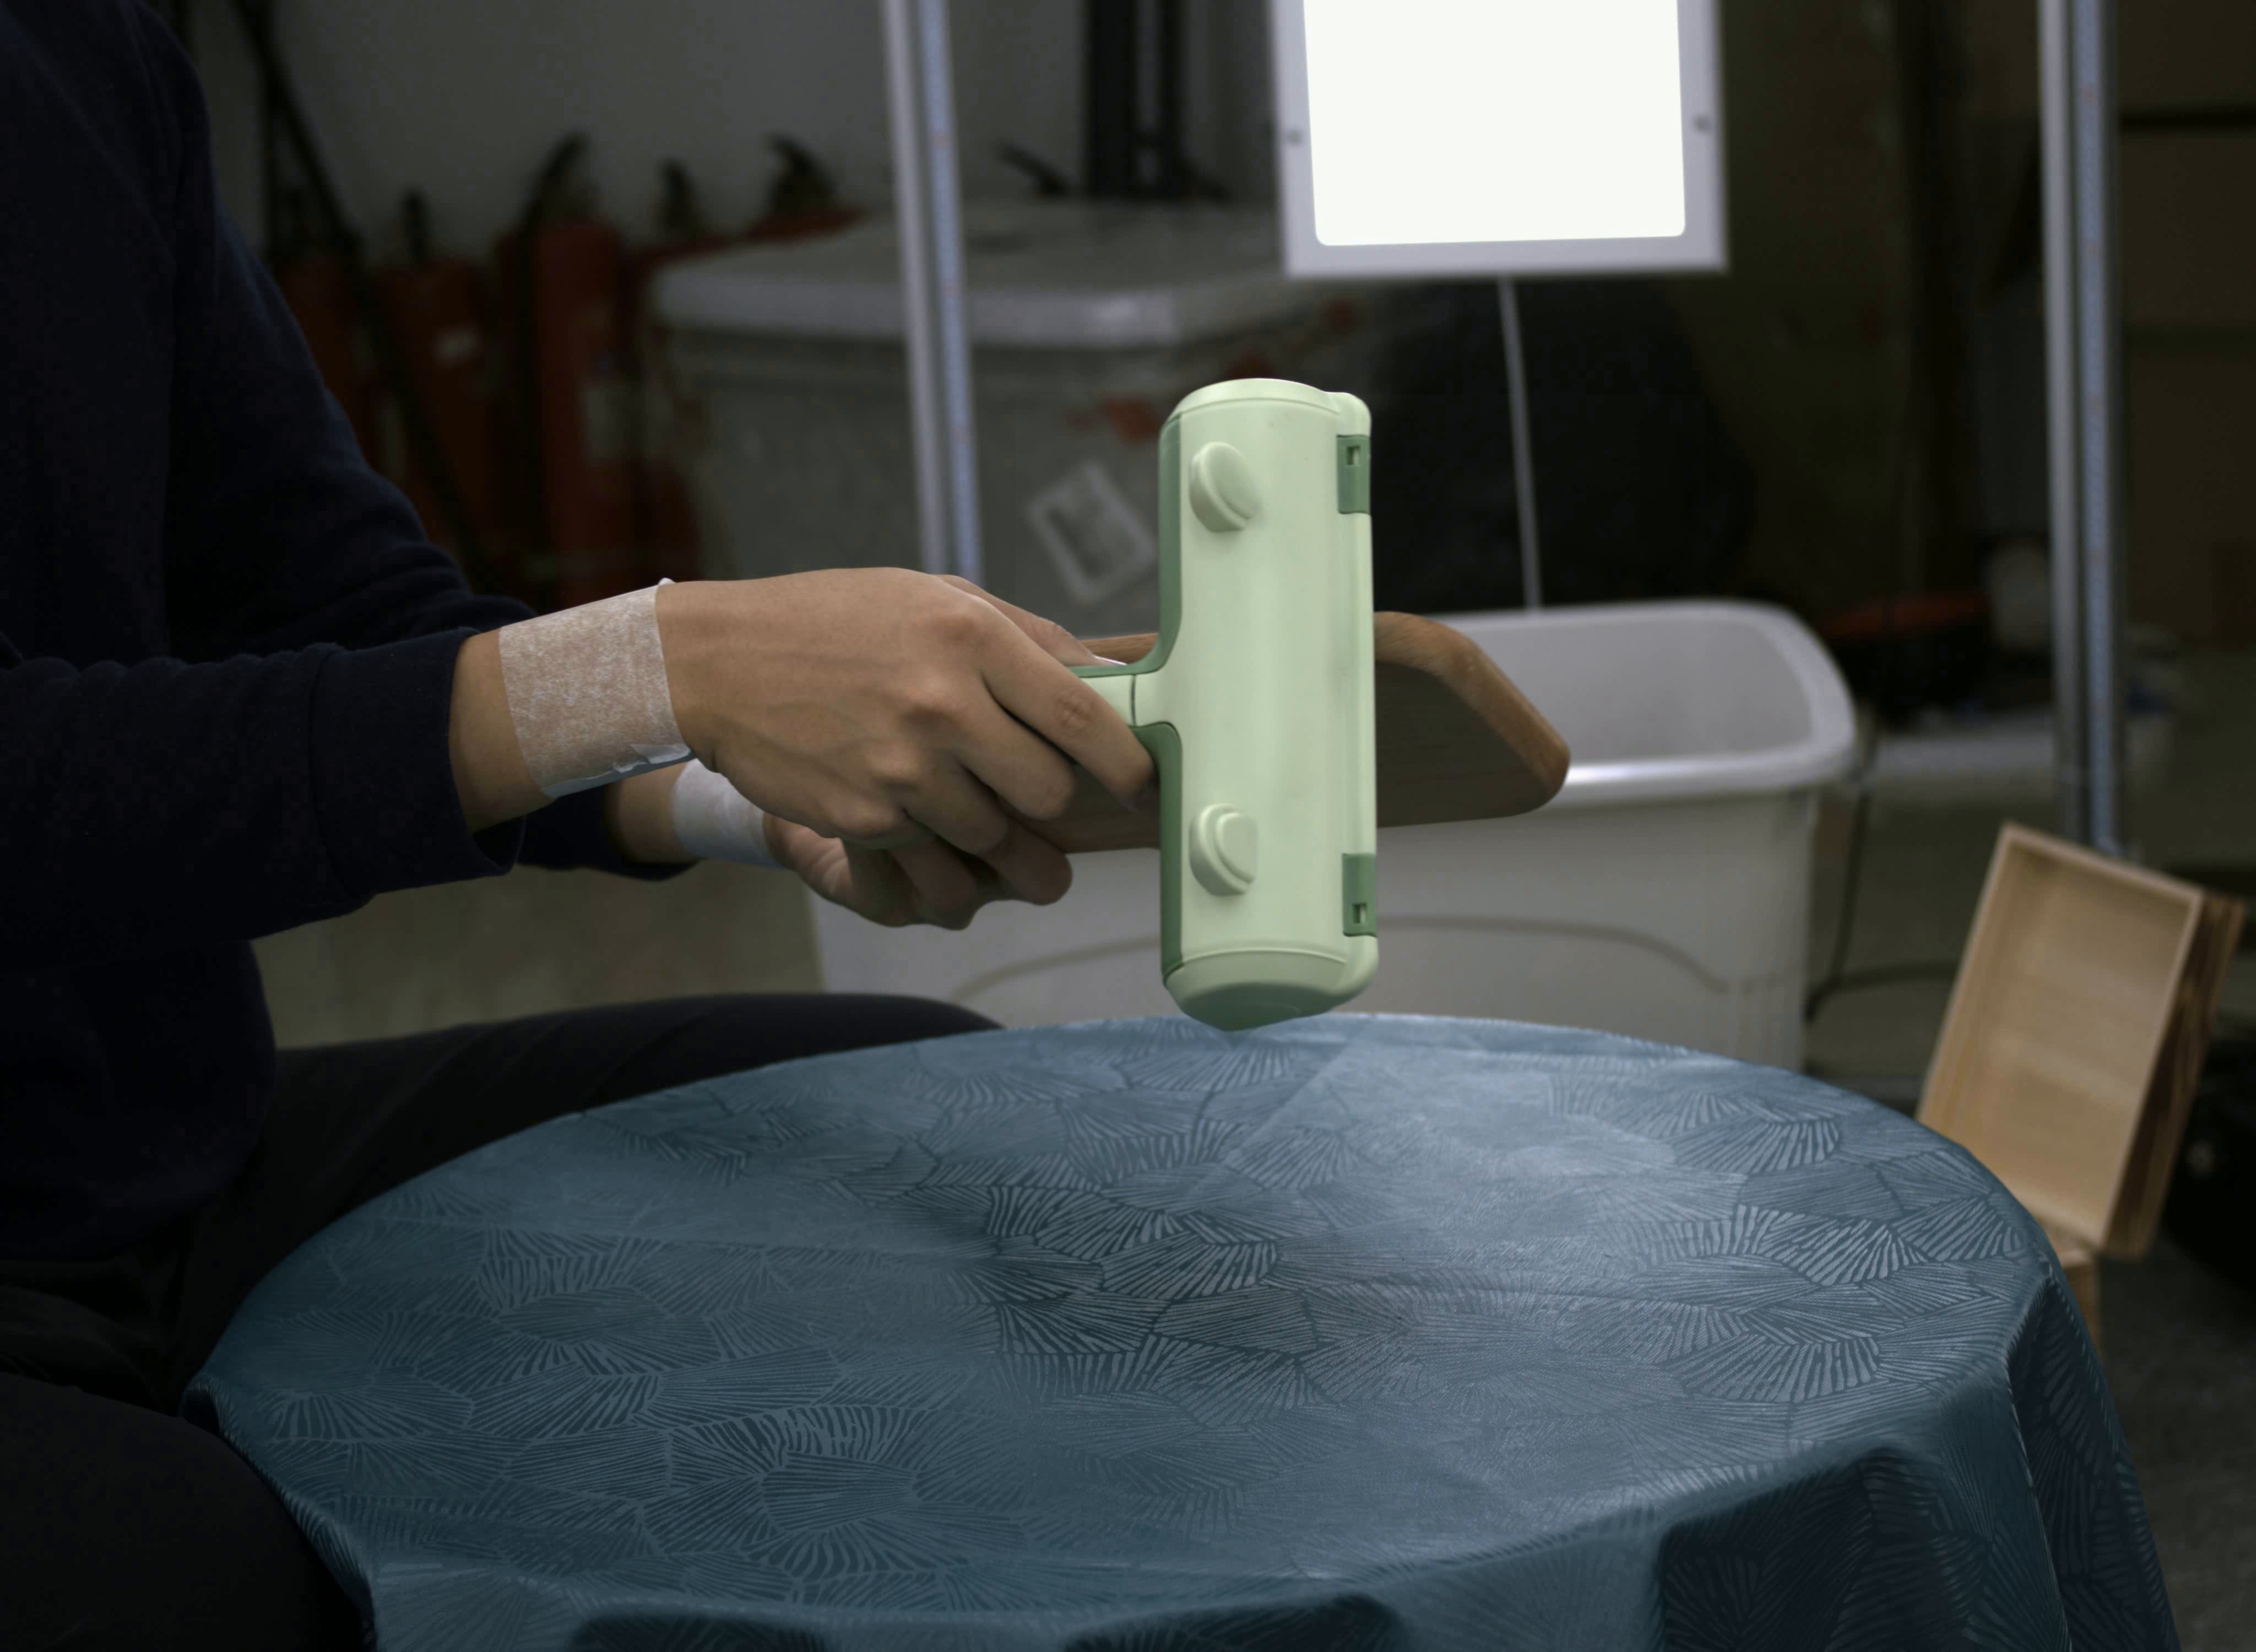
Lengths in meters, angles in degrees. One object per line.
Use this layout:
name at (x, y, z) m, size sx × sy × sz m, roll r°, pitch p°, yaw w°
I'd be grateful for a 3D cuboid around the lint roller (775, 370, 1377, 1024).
lint roller at (-0.018, -0.040, 1.657) m, size 0.183 × 0.198 × 0.082 m, roll -2°, pitch -19°, yaw 4°

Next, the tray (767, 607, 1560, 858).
tray at (0.010, -0.027, 1.783) m, size 0.255 × 0.023 × 0.128 m, roll -6°, pitch -31°, yaw 31°
